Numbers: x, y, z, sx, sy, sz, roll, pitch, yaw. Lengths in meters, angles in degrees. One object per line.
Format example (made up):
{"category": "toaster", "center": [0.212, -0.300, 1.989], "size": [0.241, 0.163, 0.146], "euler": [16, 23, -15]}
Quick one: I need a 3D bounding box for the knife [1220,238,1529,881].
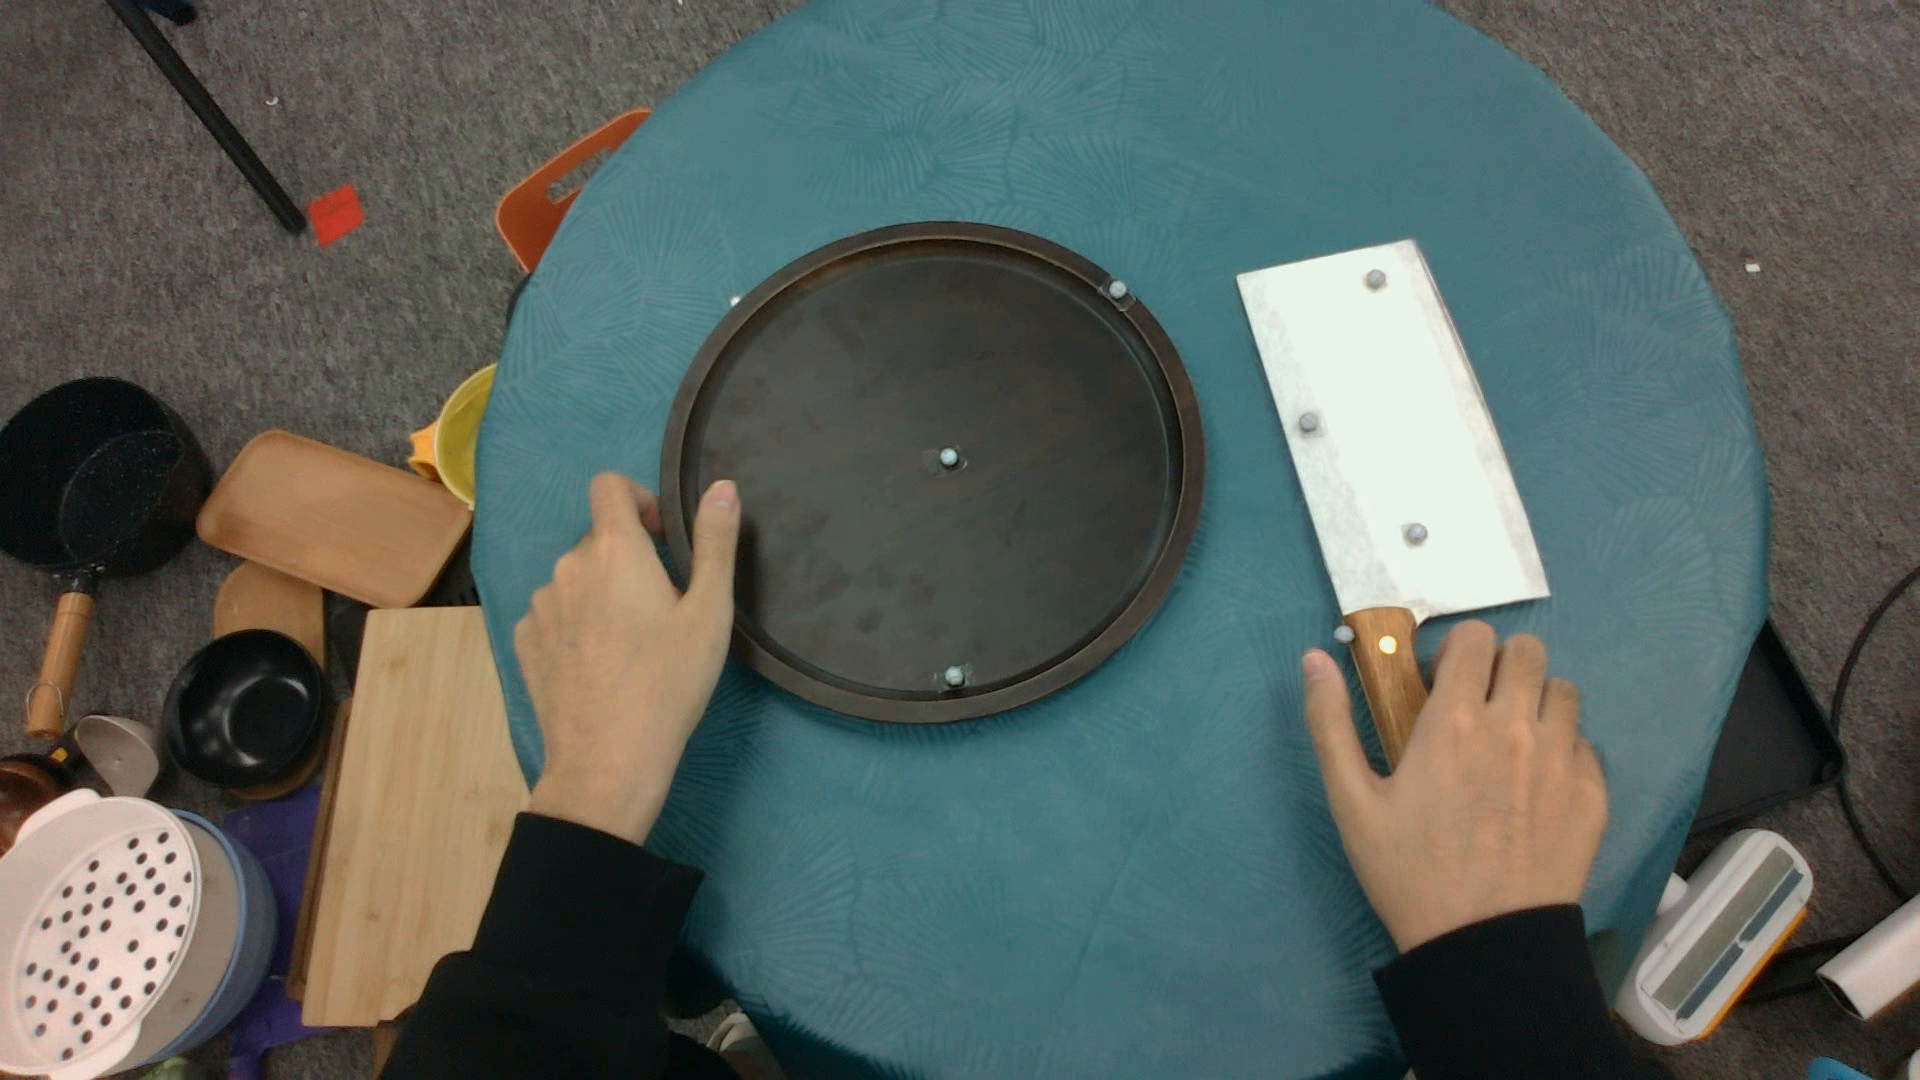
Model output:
{"category": "knife", "center": [0.198, -0.007, 0.615], "size": [0.093, 0.021, 0.306], "euler": [-11, 66, -2]}

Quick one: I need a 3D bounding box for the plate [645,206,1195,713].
{"category": "plate", "center": [-0.019, -0.042, 0.638], "size": [0.255, 0.029, 0.255], "euler": [-1, 68, 2]}
